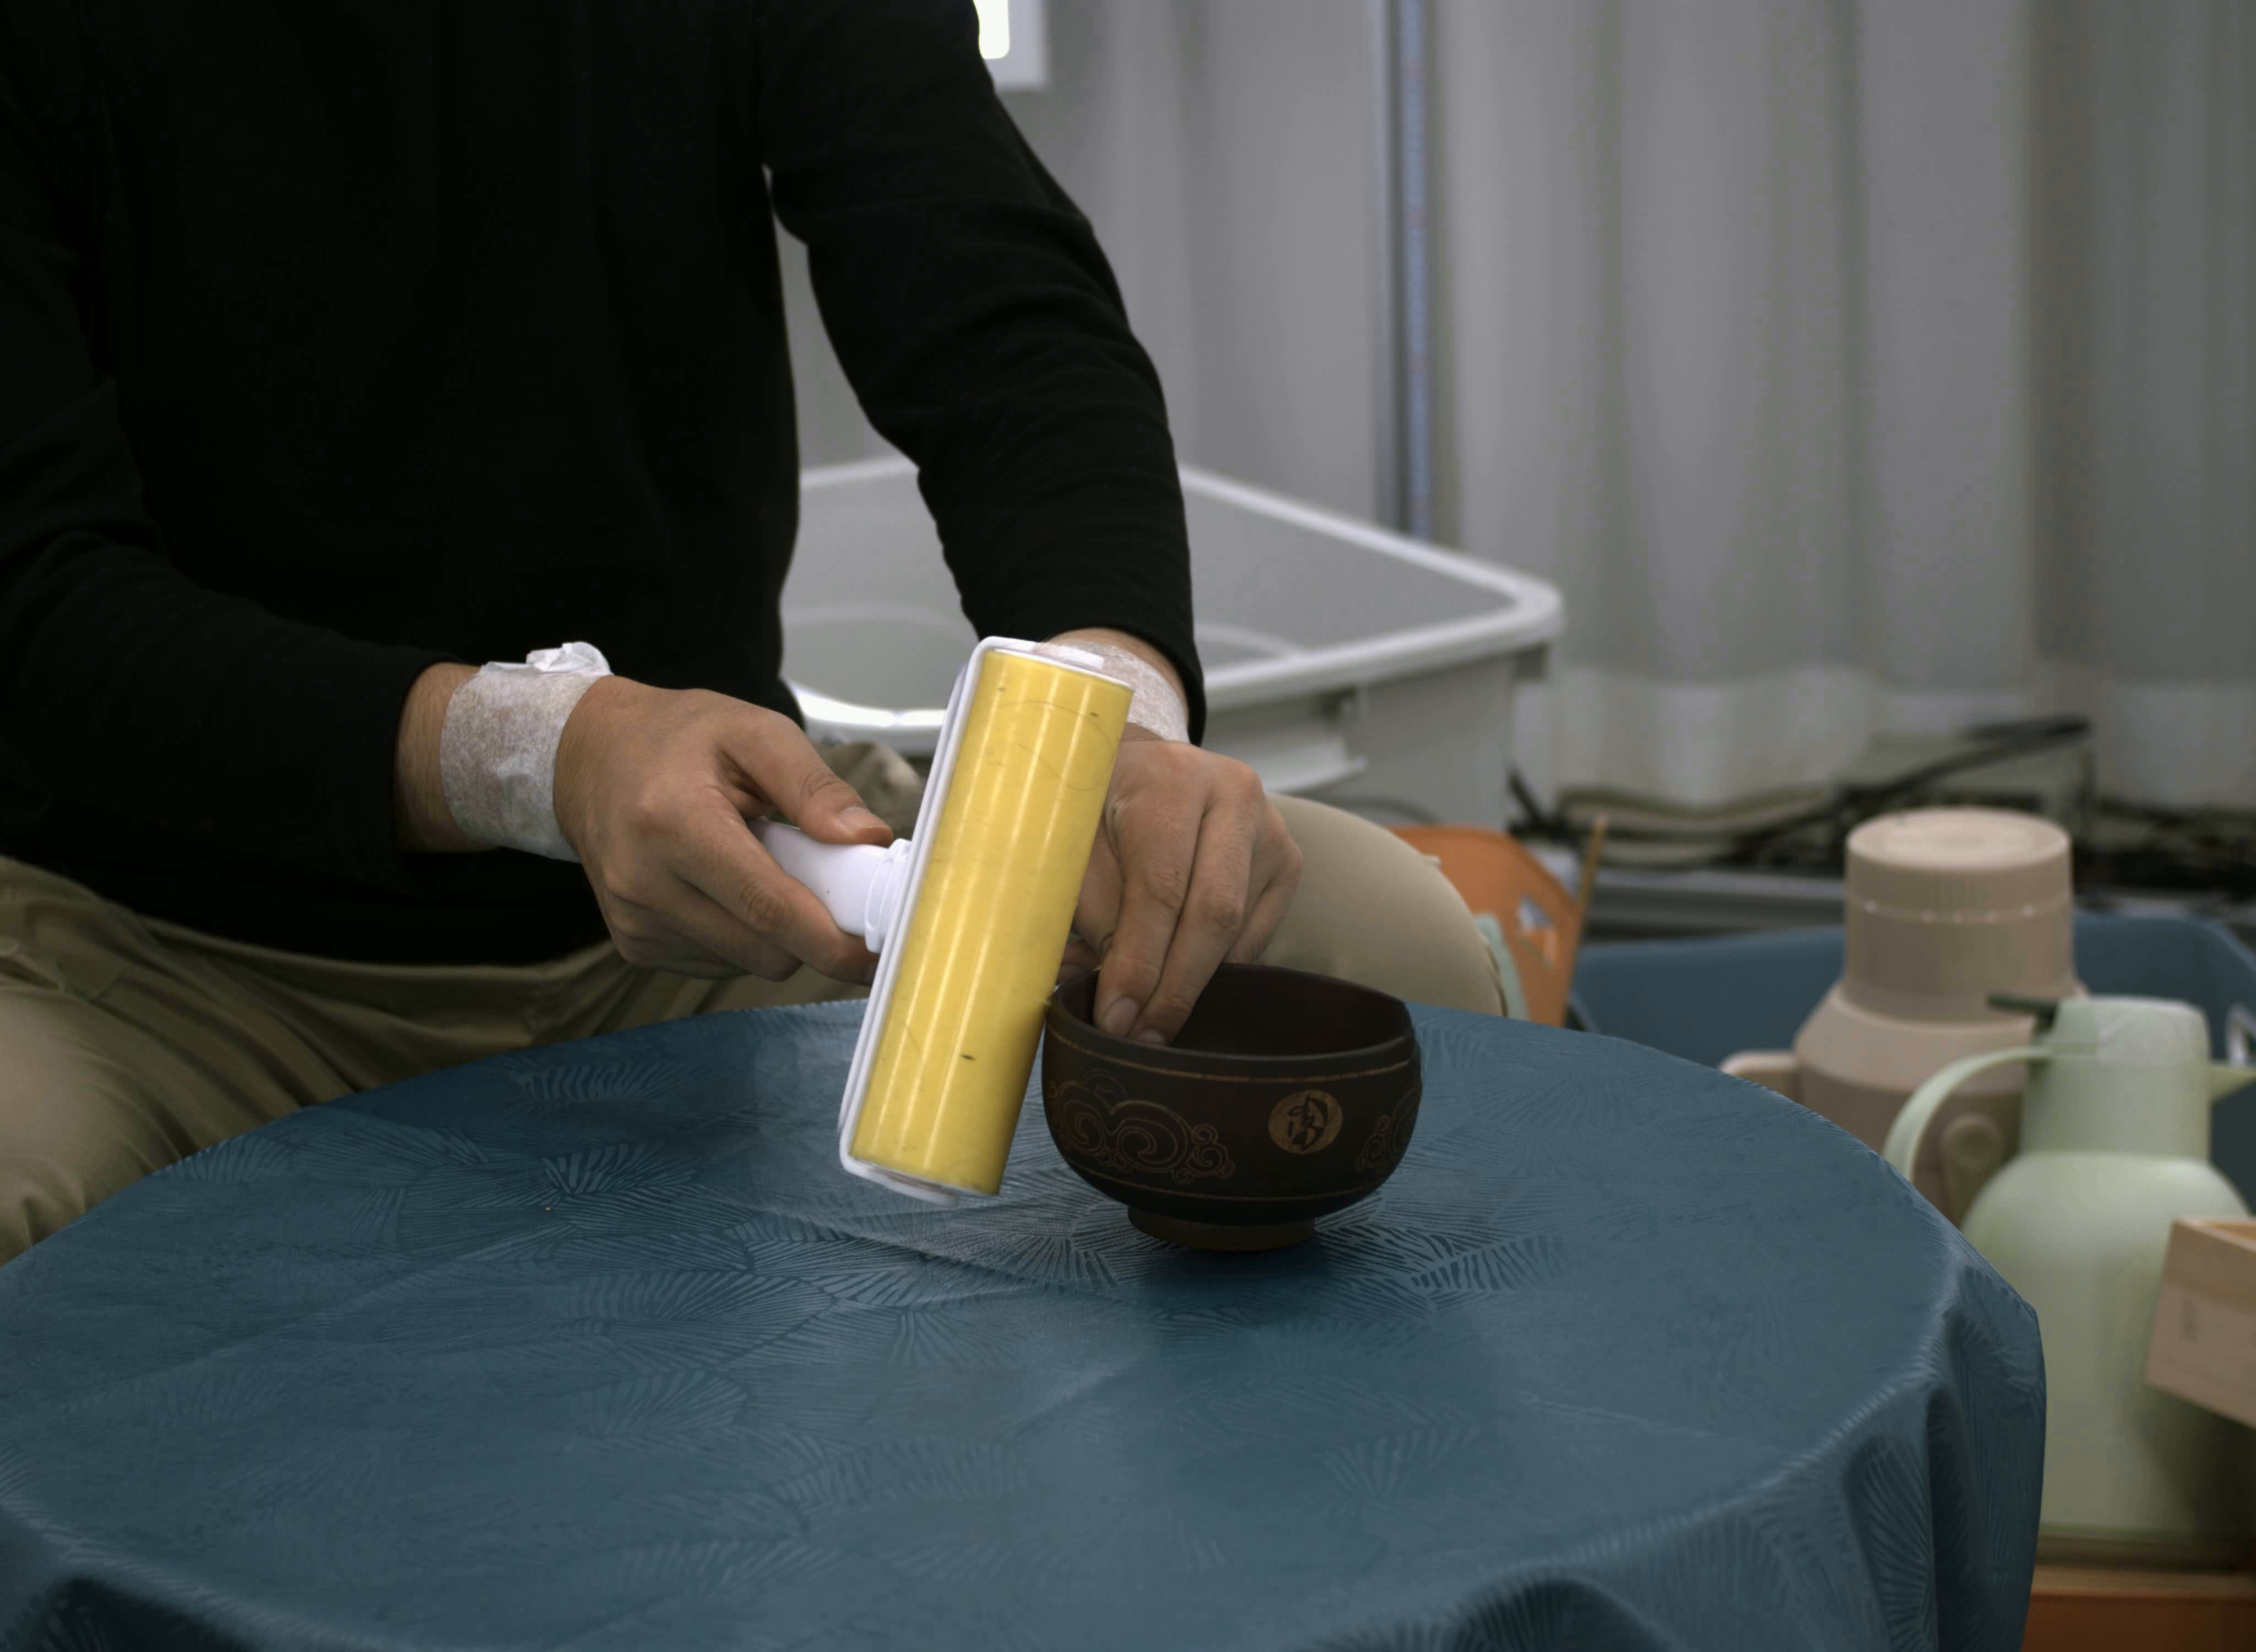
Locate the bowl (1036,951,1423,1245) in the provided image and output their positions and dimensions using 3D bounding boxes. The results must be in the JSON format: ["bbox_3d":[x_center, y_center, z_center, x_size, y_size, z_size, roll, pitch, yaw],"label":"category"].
[{"bbox_3d":[0.029,0.086,1.662,0.117,0.069,0.118,4,12,-1],"label":"bowl"}]

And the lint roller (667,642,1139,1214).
[{"bbox_3d":[-0.090,0.021,1.709,0.193,0.175,0.051,10,-6,42],"label":"lint roller"}]
